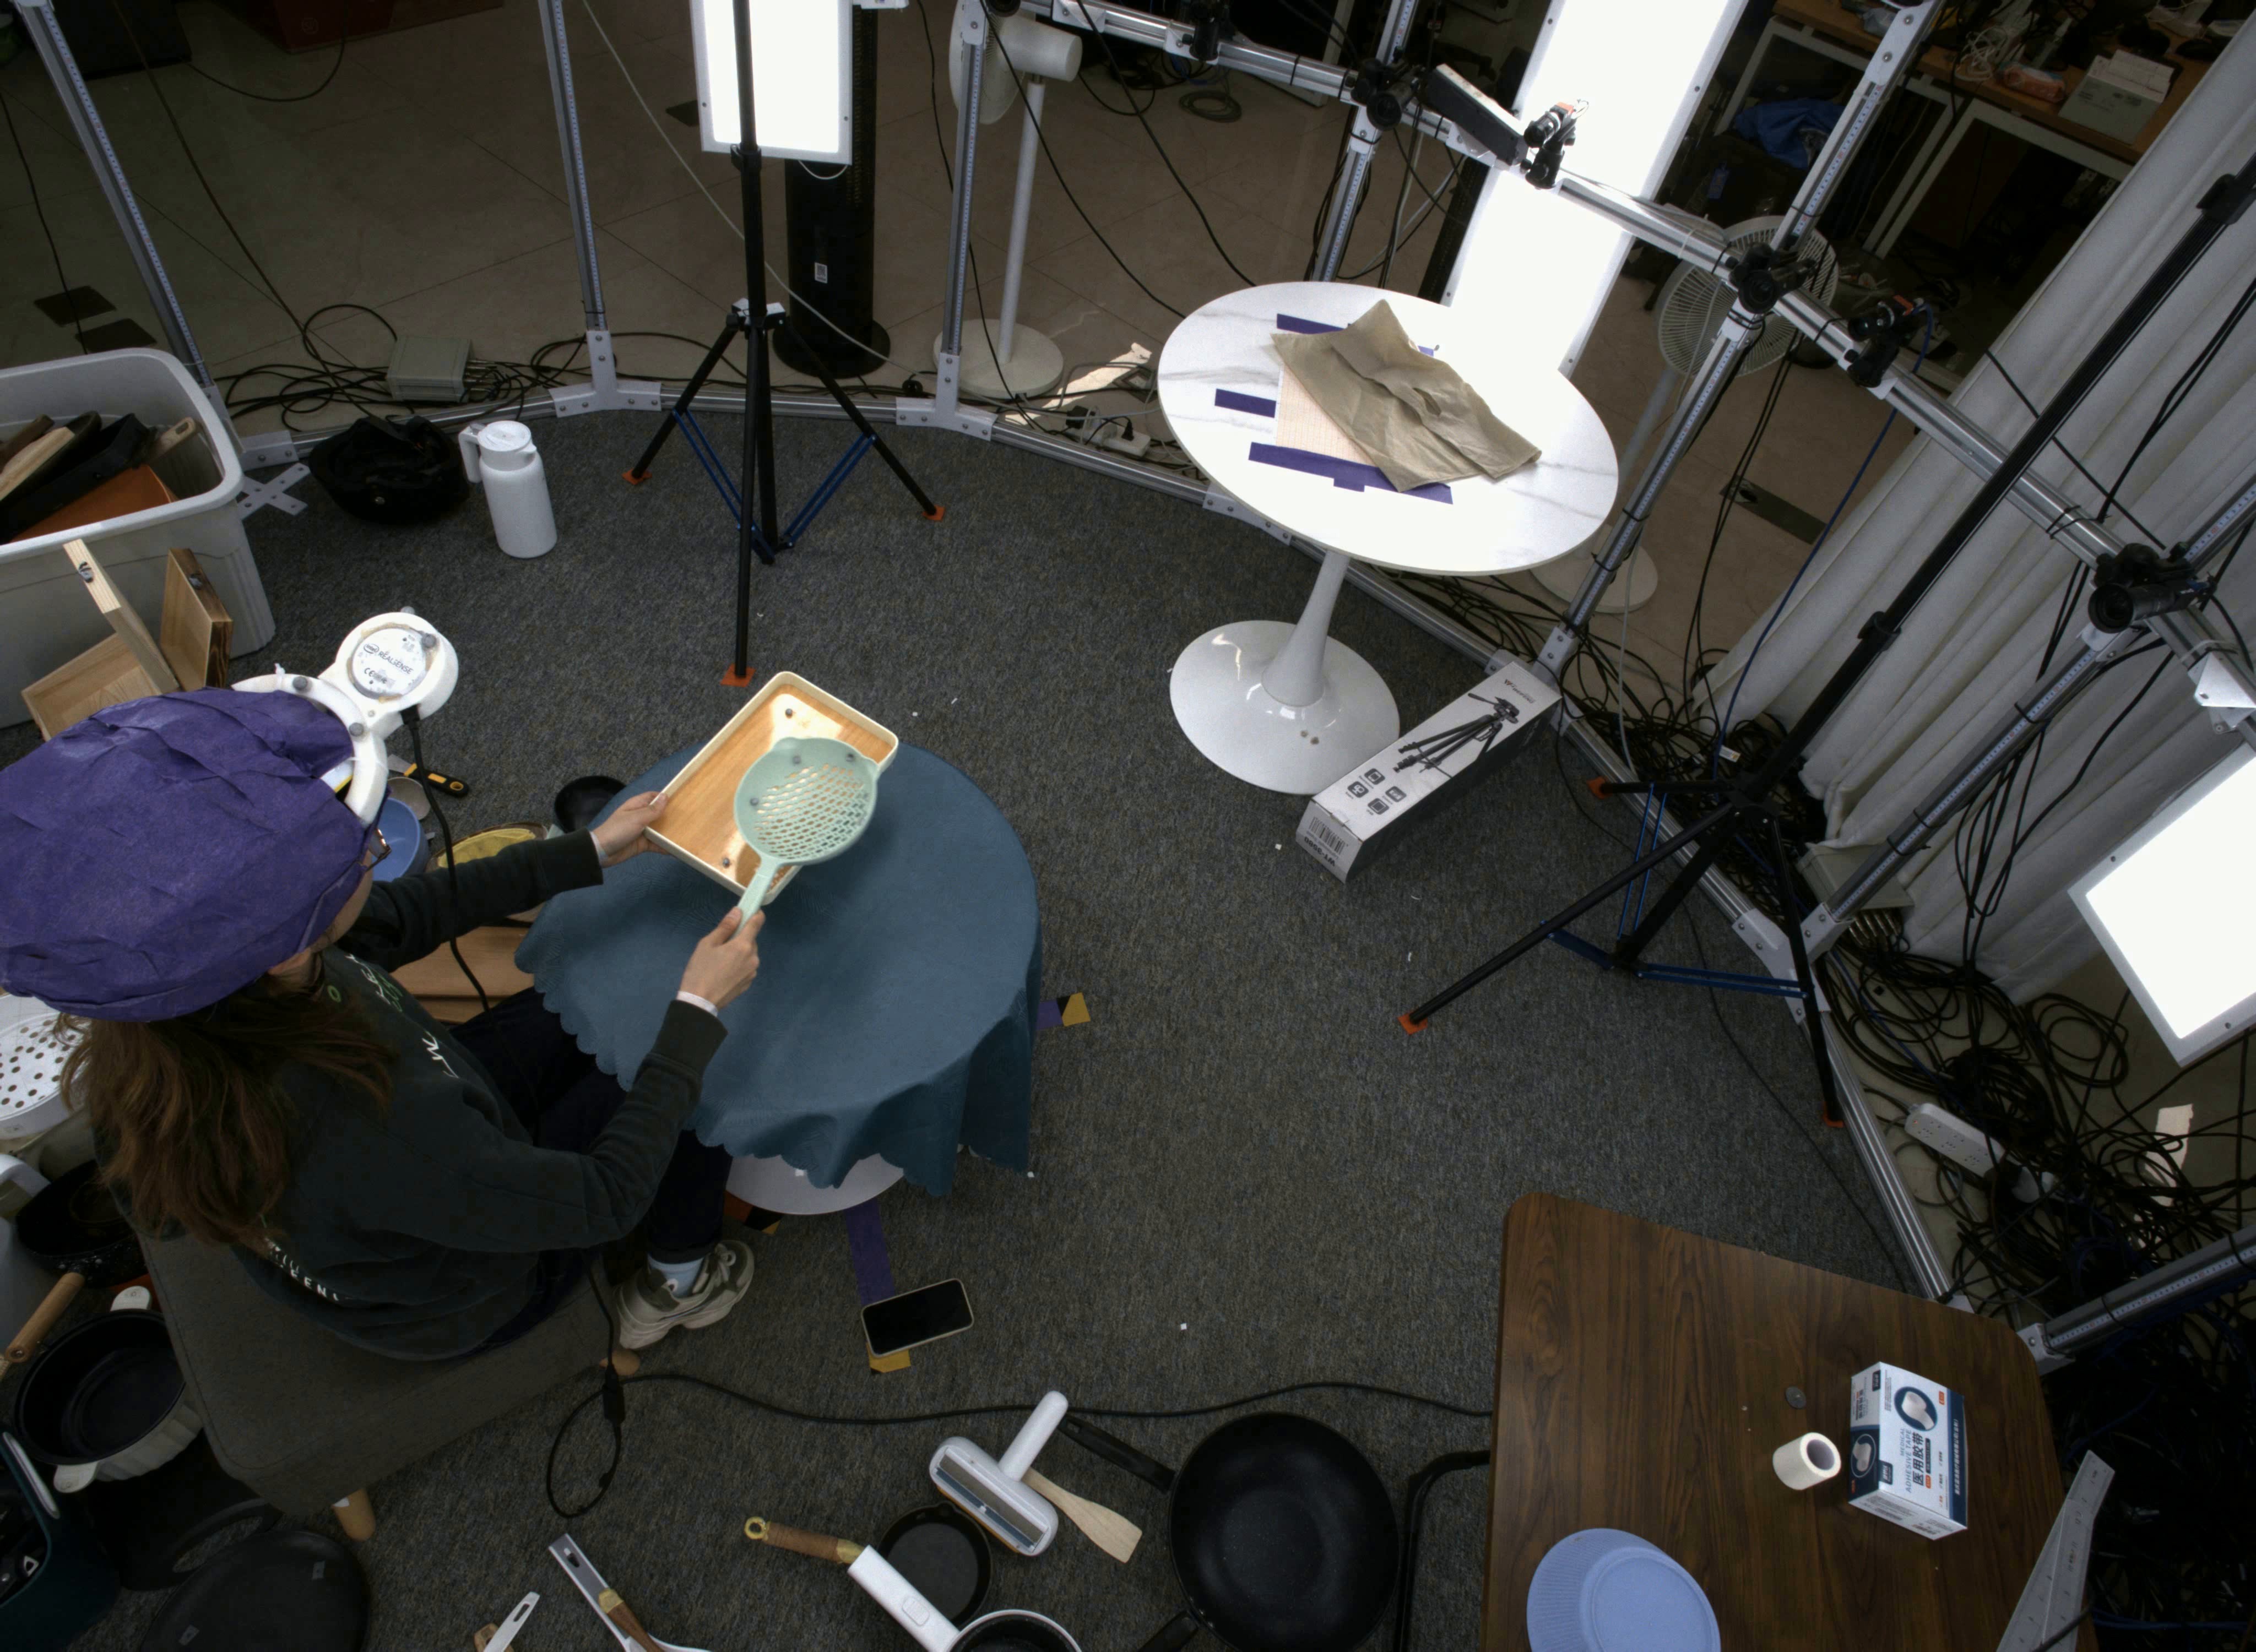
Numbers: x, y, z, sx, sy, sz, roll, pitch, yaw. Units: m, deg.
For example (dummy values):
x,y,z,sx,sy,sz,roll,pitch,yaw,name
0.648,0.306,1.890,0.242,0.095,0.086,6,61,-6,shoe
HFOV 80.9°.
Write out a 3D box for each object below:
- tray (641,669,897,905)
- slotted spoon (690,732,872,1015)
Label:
x,y,z,sx,sy,sz,roll,pitch,yaw,name
-0.445,-0.056,1.620,0.190,0.028,0.299,32,55,2,tray
-0.416,0.047,1.483,0.165,0.078,0.356,15,54,13,slotted spoon
